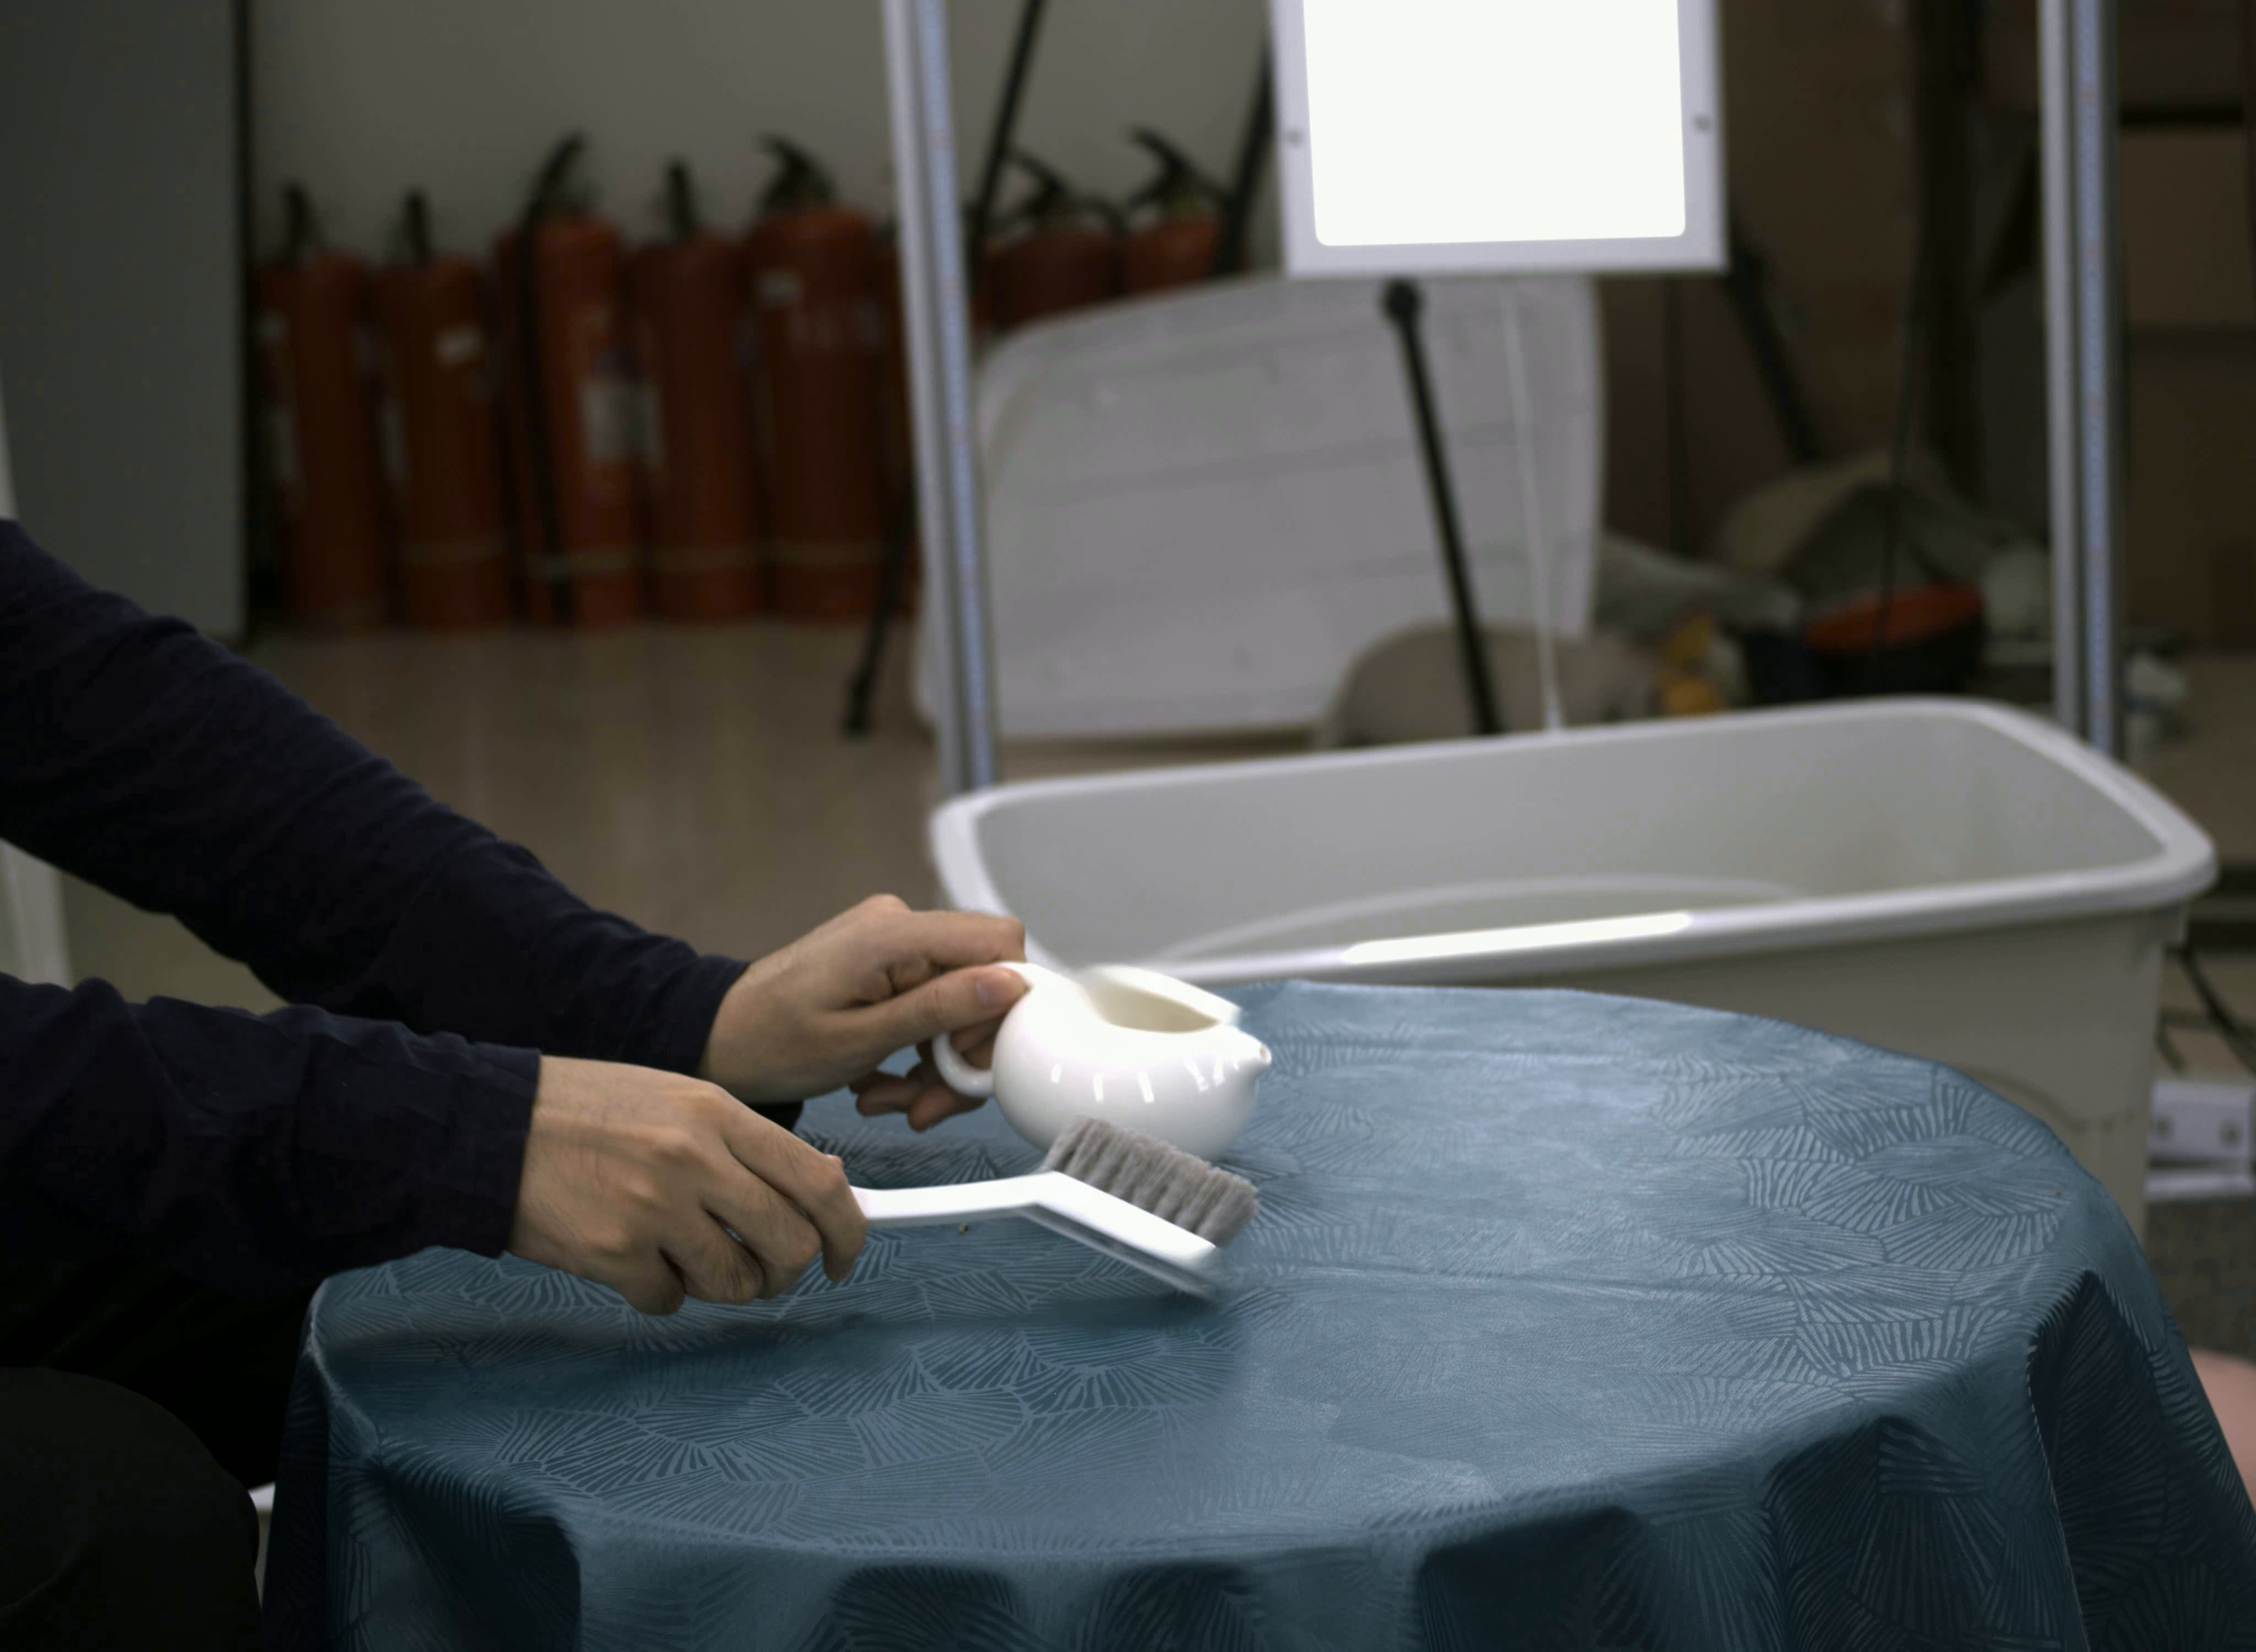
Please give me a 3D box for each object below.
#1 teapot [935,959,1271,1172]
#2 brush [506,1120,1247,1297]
[{"bbox_3d":[-0.010,0.082,1.905,0.129,0.057,0.091,14,23,21],"label":"teapot"},{"bbox_3d":[-0.082,0.114,1.796,0.245,0.050,0.034,6,-16,12],"label":"brush"}]
